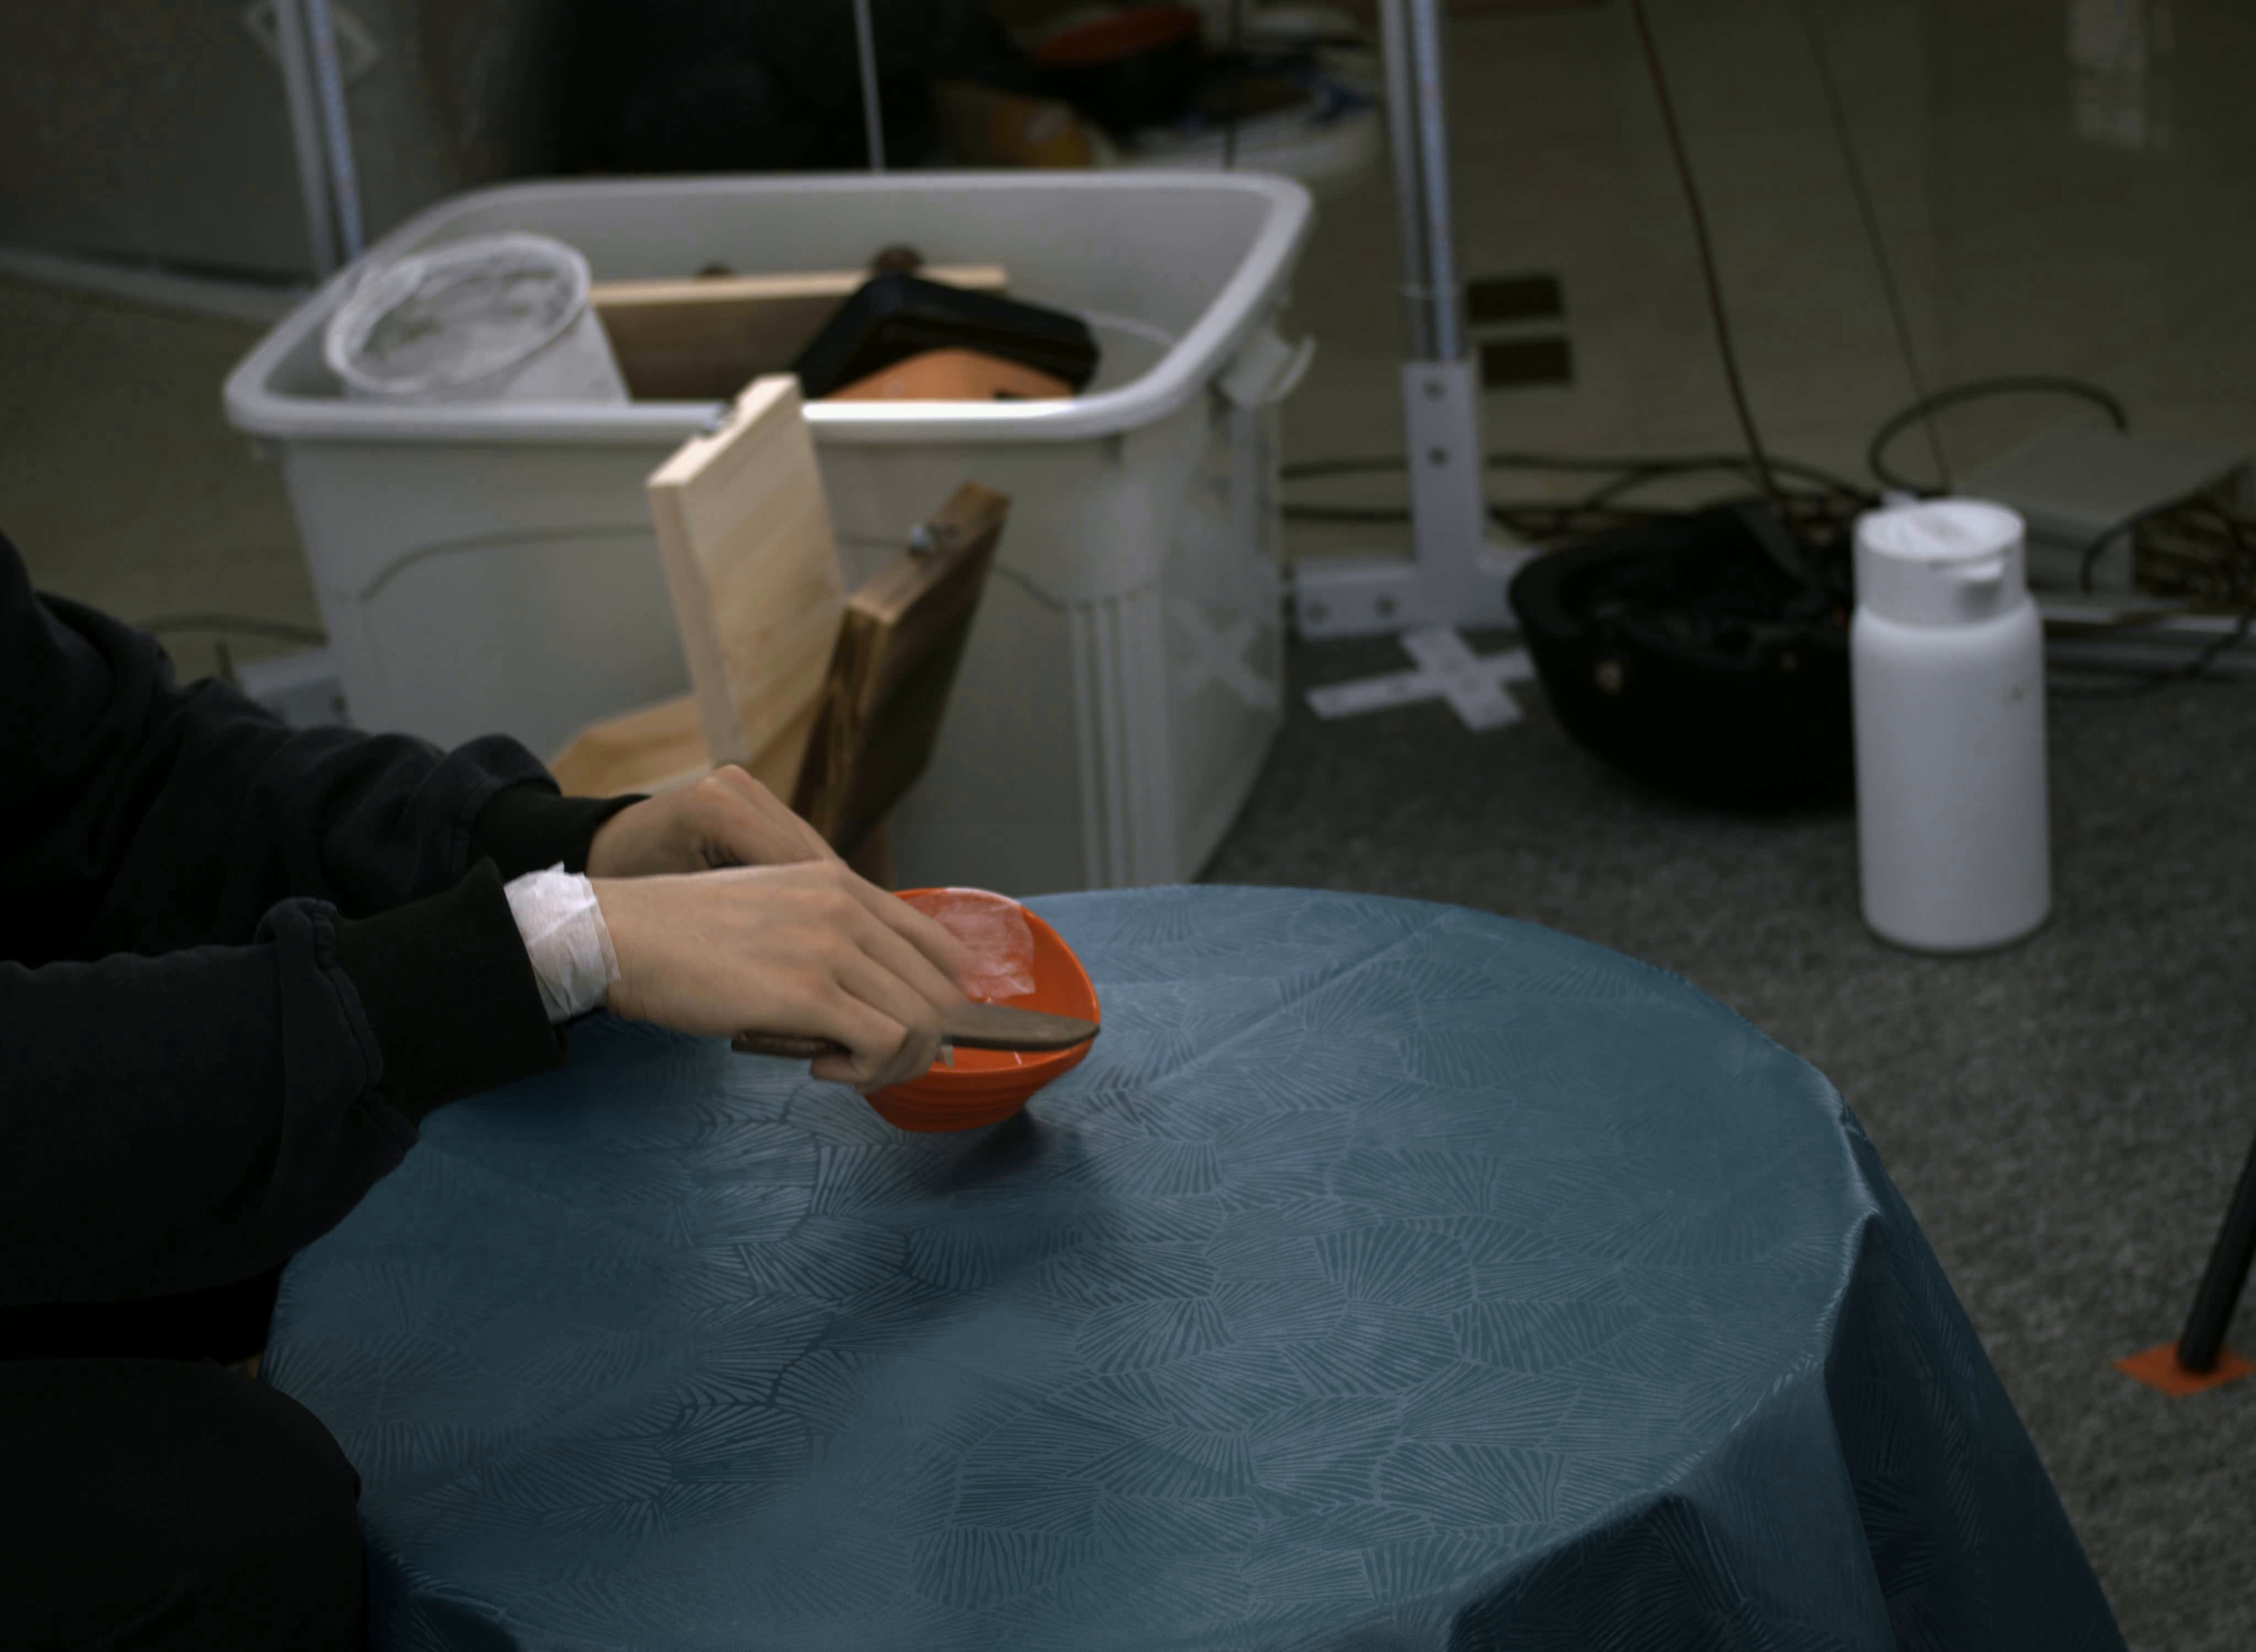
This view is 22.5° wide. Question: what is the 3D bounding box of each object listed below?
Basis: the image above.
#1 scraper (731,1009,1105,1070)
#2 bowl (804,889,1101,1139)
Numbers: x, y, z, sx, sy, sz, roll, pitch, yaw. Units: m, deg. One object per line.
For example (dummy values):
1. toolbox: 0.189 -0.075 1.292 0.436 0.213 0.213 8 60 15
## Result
1. scraper: -0.082 0.079 2.033 0.075 0.011 0.211 8 4 25
2. bowl: -0.072 0.080 2.212 0.119 0.052 0.117 9 39 -7
